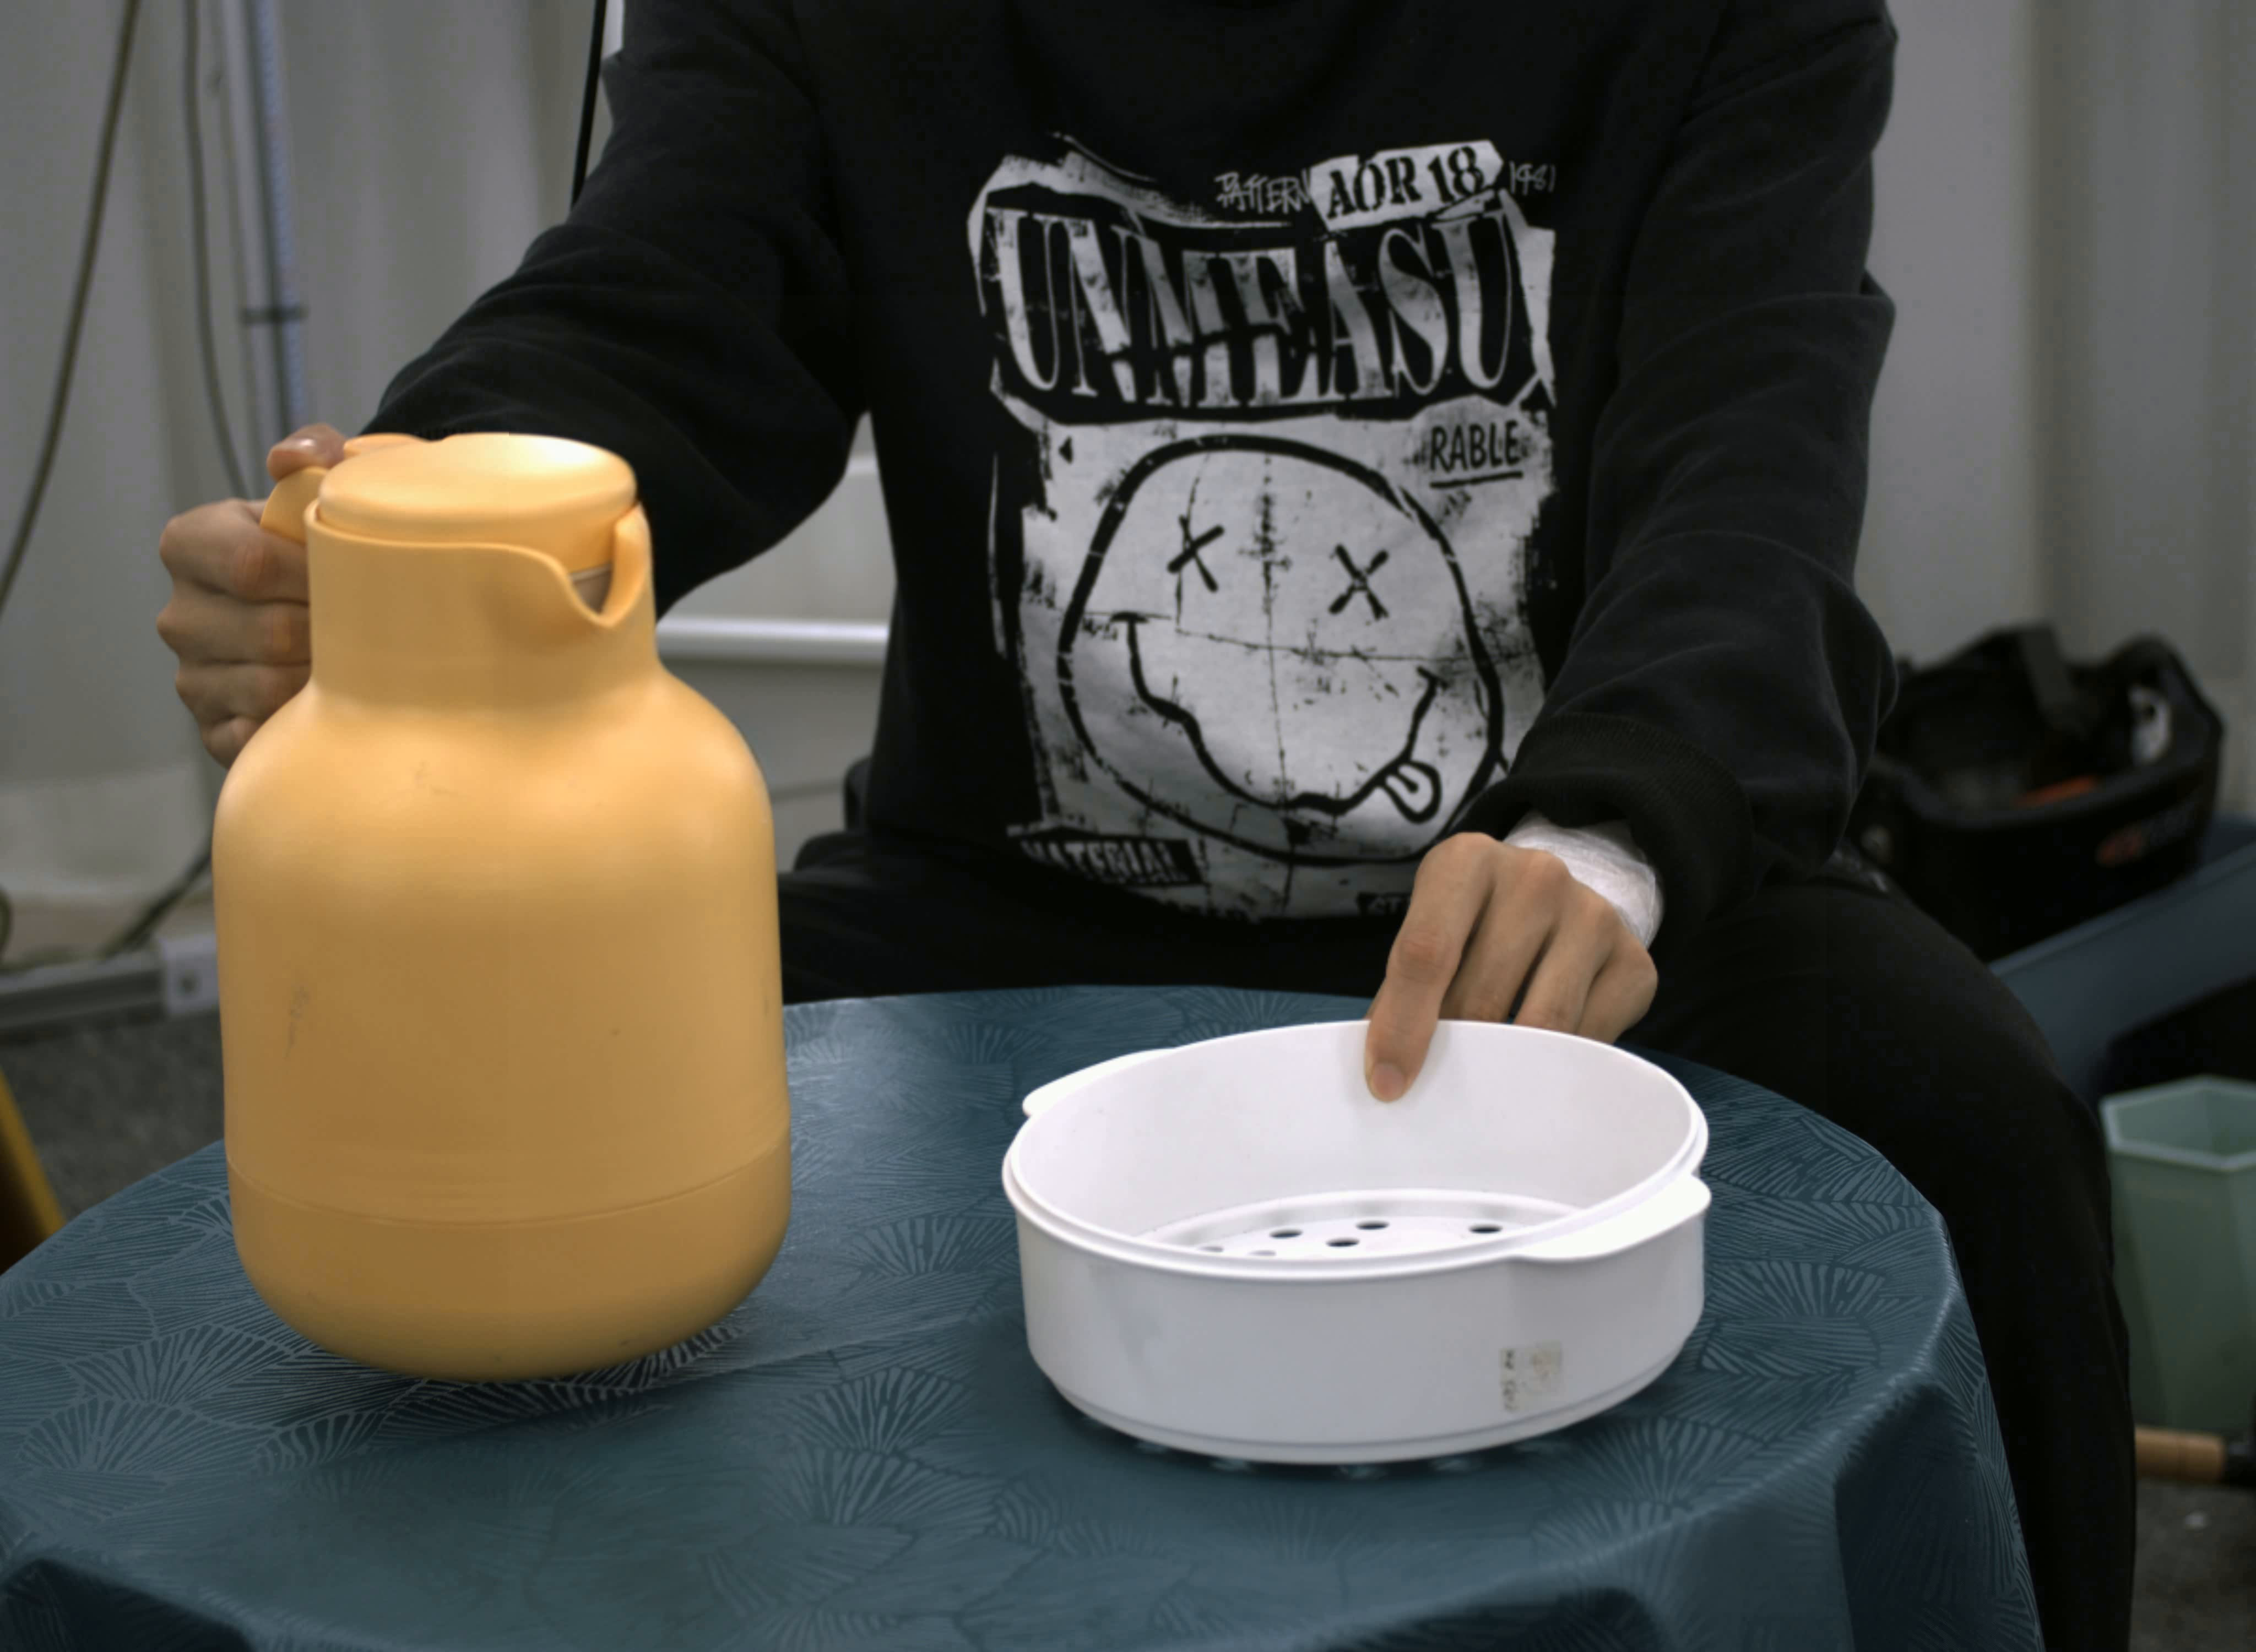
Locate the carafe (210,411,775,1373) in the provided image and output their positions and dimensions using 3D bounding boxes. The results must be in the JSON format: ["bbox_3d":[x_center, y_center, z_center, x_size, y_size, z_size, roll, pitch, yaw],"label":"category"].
[{"bbox_3d":[-0.191,0.010,1.584,0.162,0.259,0.204,-8,19,-33],"label":"carafe"}]

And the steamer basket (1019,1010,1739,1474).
[{"bbox_3d":[0.070,0.117,1.545,0.201,0.069,0.232,-19,25,-41],"label":"steamer basket"}]
